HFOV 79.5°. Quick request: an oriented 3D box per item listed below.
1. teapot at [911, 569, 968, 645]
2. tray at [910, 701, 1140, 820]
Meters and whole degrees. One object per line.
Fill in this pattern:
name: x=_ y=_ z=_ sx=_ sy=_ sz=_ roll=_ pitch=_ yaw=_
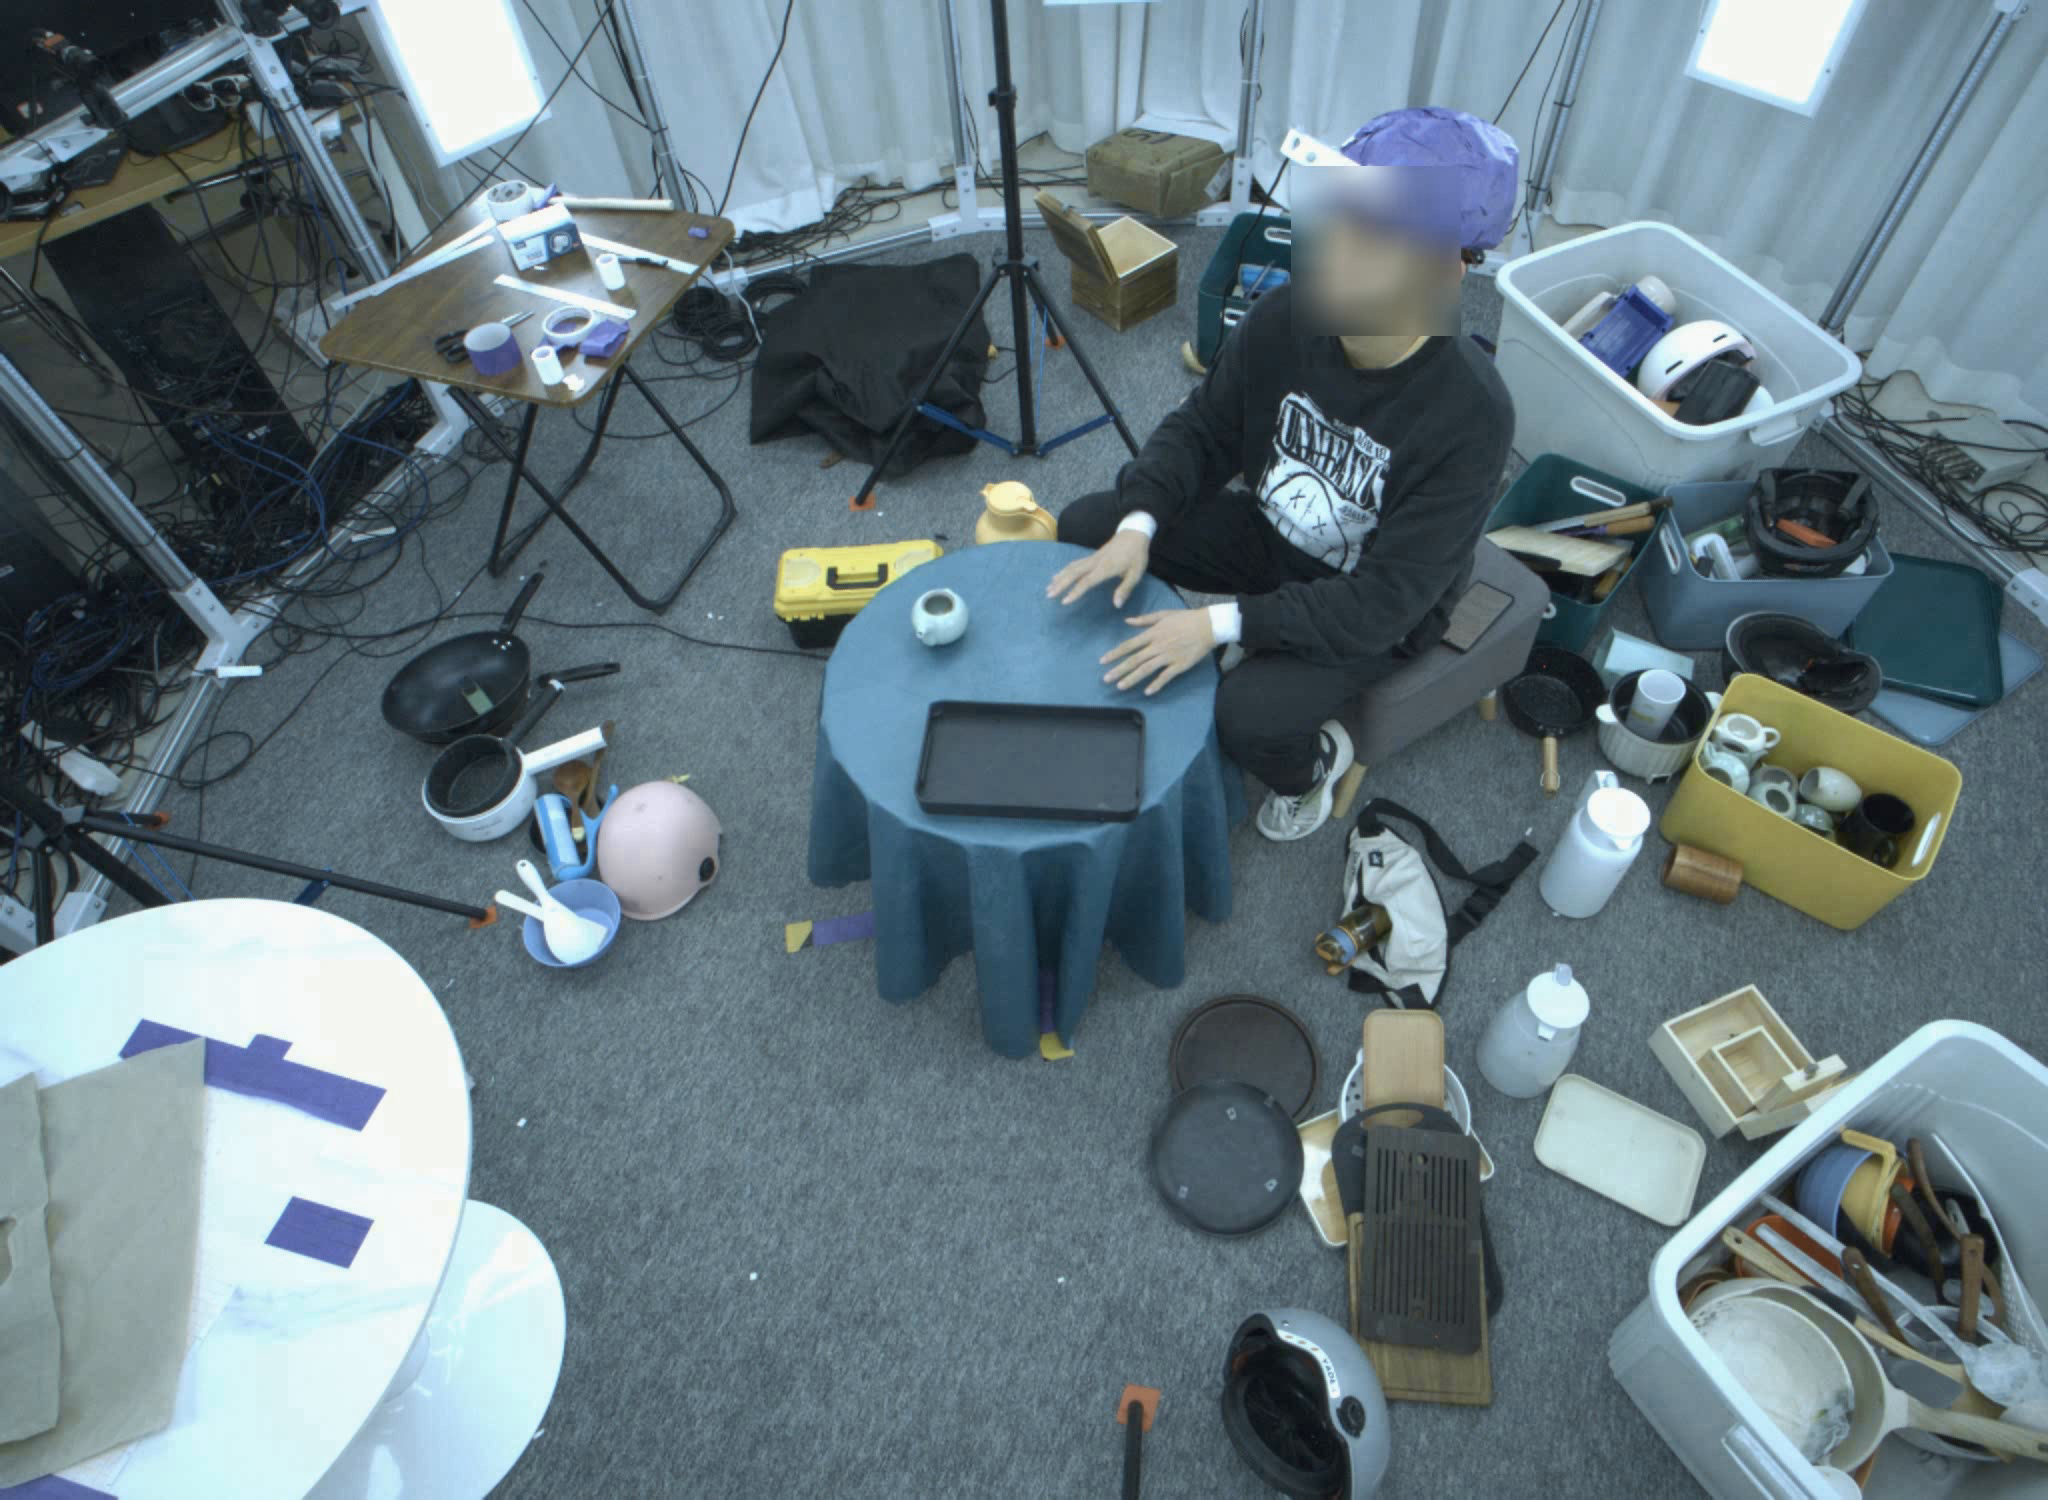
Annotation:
teapot: x=-0.131 y=-0.207 z=1.890 sx=0.087 sy=0.075 sz=0.144 roll=17 pitch=59 yaw=14
tray: x=0.004 y=0.013 z=1.752 sx=0.317 sy=0.037 sz=0.182 roll=1 pitch=55 yaw=3
